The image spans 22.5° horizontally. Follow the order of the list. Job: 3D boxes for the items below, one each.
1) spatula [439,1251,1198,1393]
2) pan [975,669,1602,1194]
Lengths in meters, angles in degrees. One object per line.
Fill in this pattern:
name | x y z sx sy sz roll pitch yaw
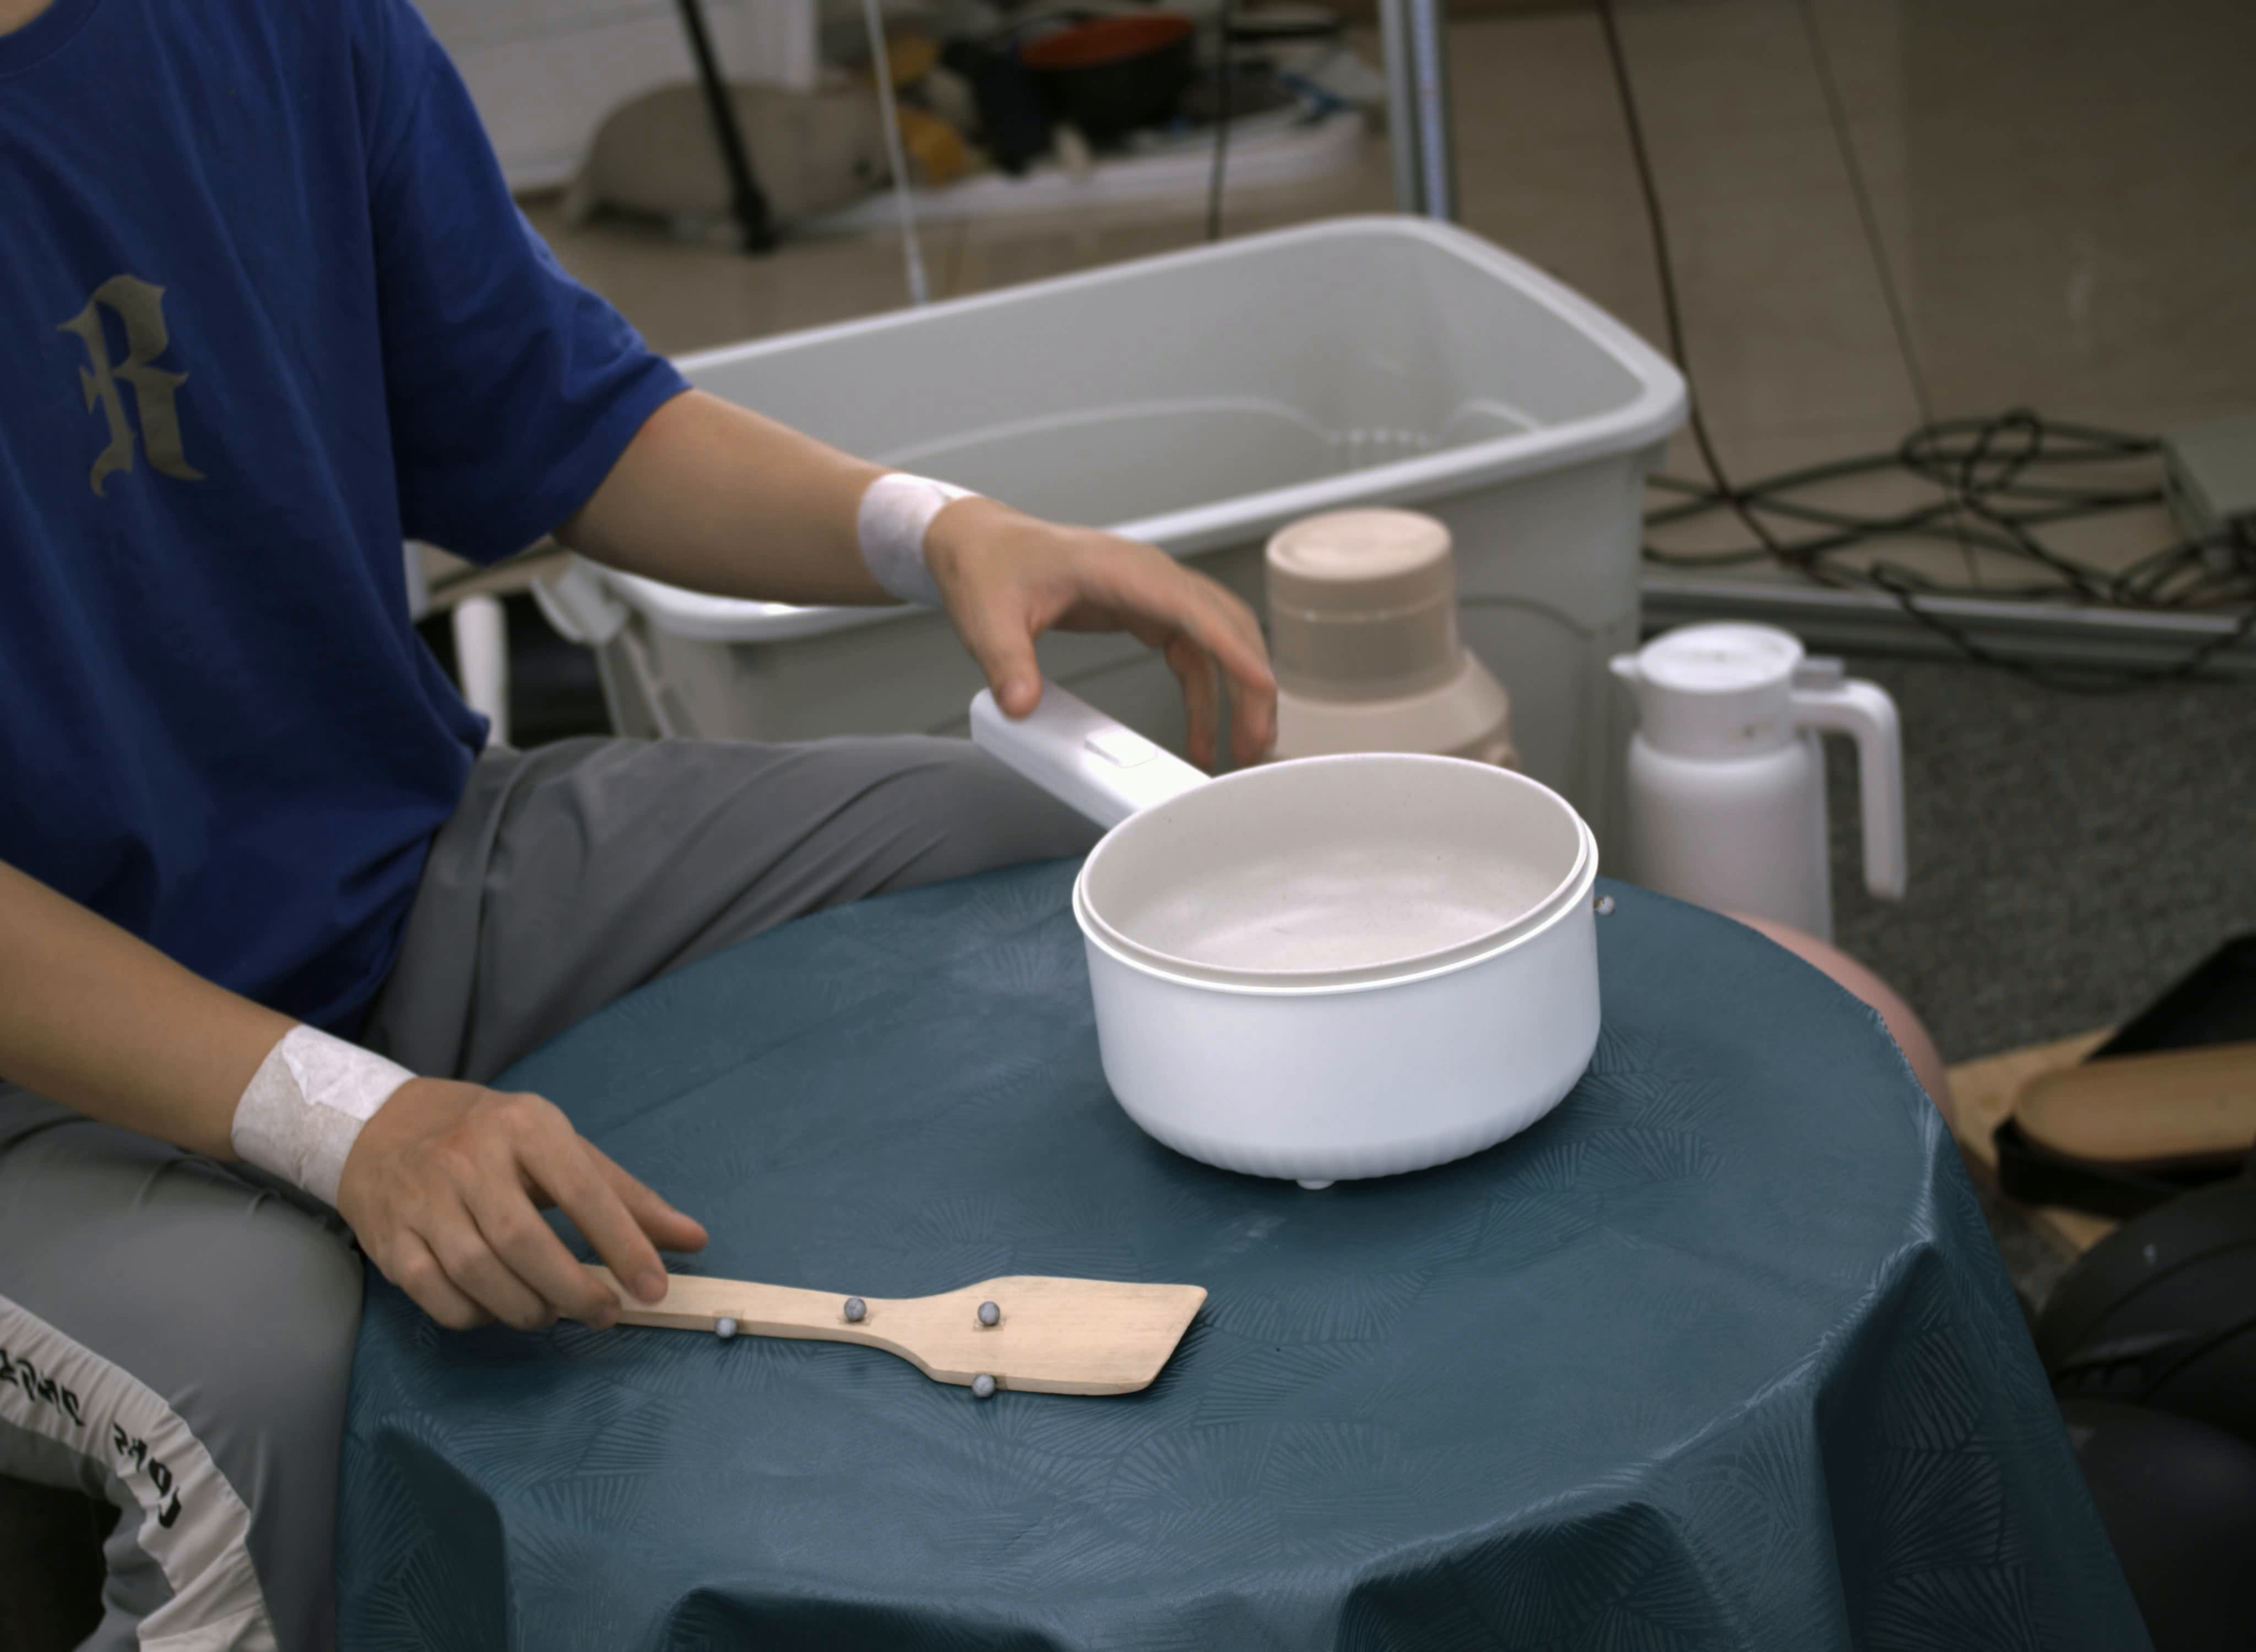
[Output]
spatula | -0.120 0.177 2.083 0.292 0.011 0.071 3 28 20
pan | 0.044 0.035 2.242 0.200 0.104 0.351 -21 29 -25
